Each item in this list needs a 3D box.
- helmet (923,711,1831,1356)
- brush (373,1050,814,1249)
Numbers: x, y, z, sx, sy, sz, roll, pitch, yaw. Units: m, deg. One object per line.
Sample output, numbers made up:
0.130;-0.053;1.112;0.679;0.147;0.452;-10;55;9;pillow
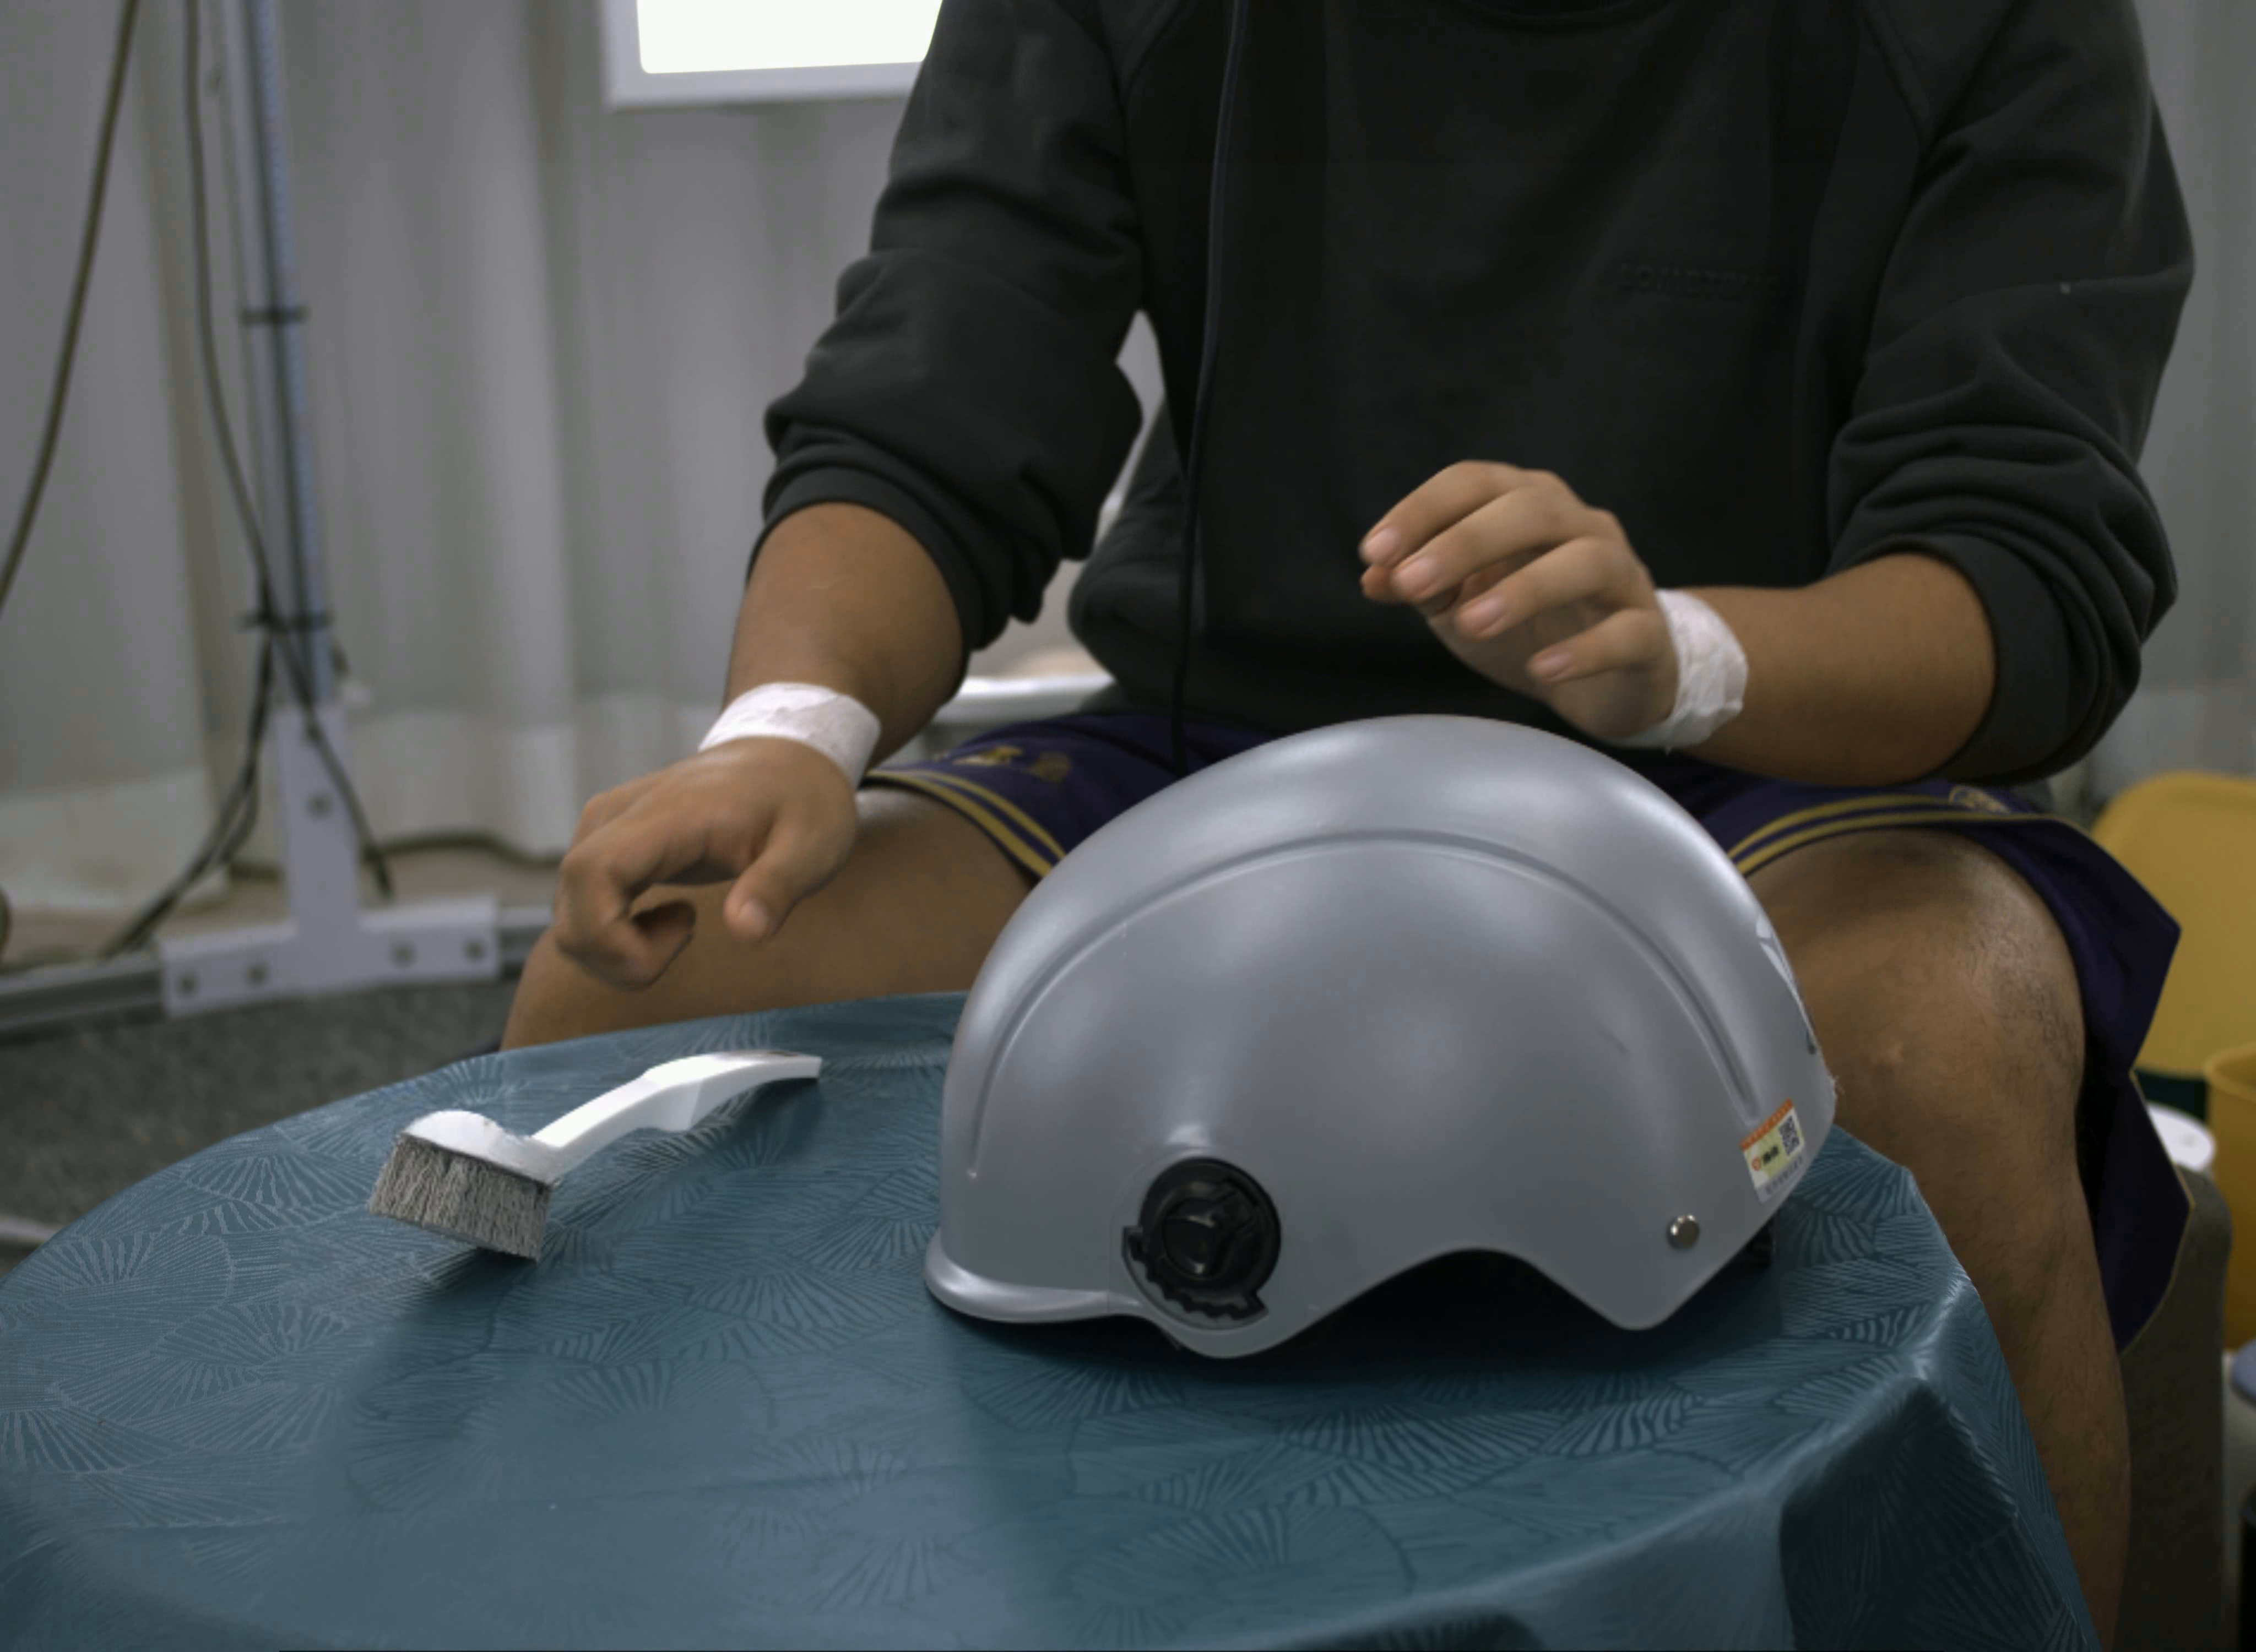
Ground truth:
0.068;0.052;1.623;0.276;0.168;0.233;-2;14;11;helmet
-0.165;0.103;1.747;0.034;0.050;0.243;7;5;24;brush
